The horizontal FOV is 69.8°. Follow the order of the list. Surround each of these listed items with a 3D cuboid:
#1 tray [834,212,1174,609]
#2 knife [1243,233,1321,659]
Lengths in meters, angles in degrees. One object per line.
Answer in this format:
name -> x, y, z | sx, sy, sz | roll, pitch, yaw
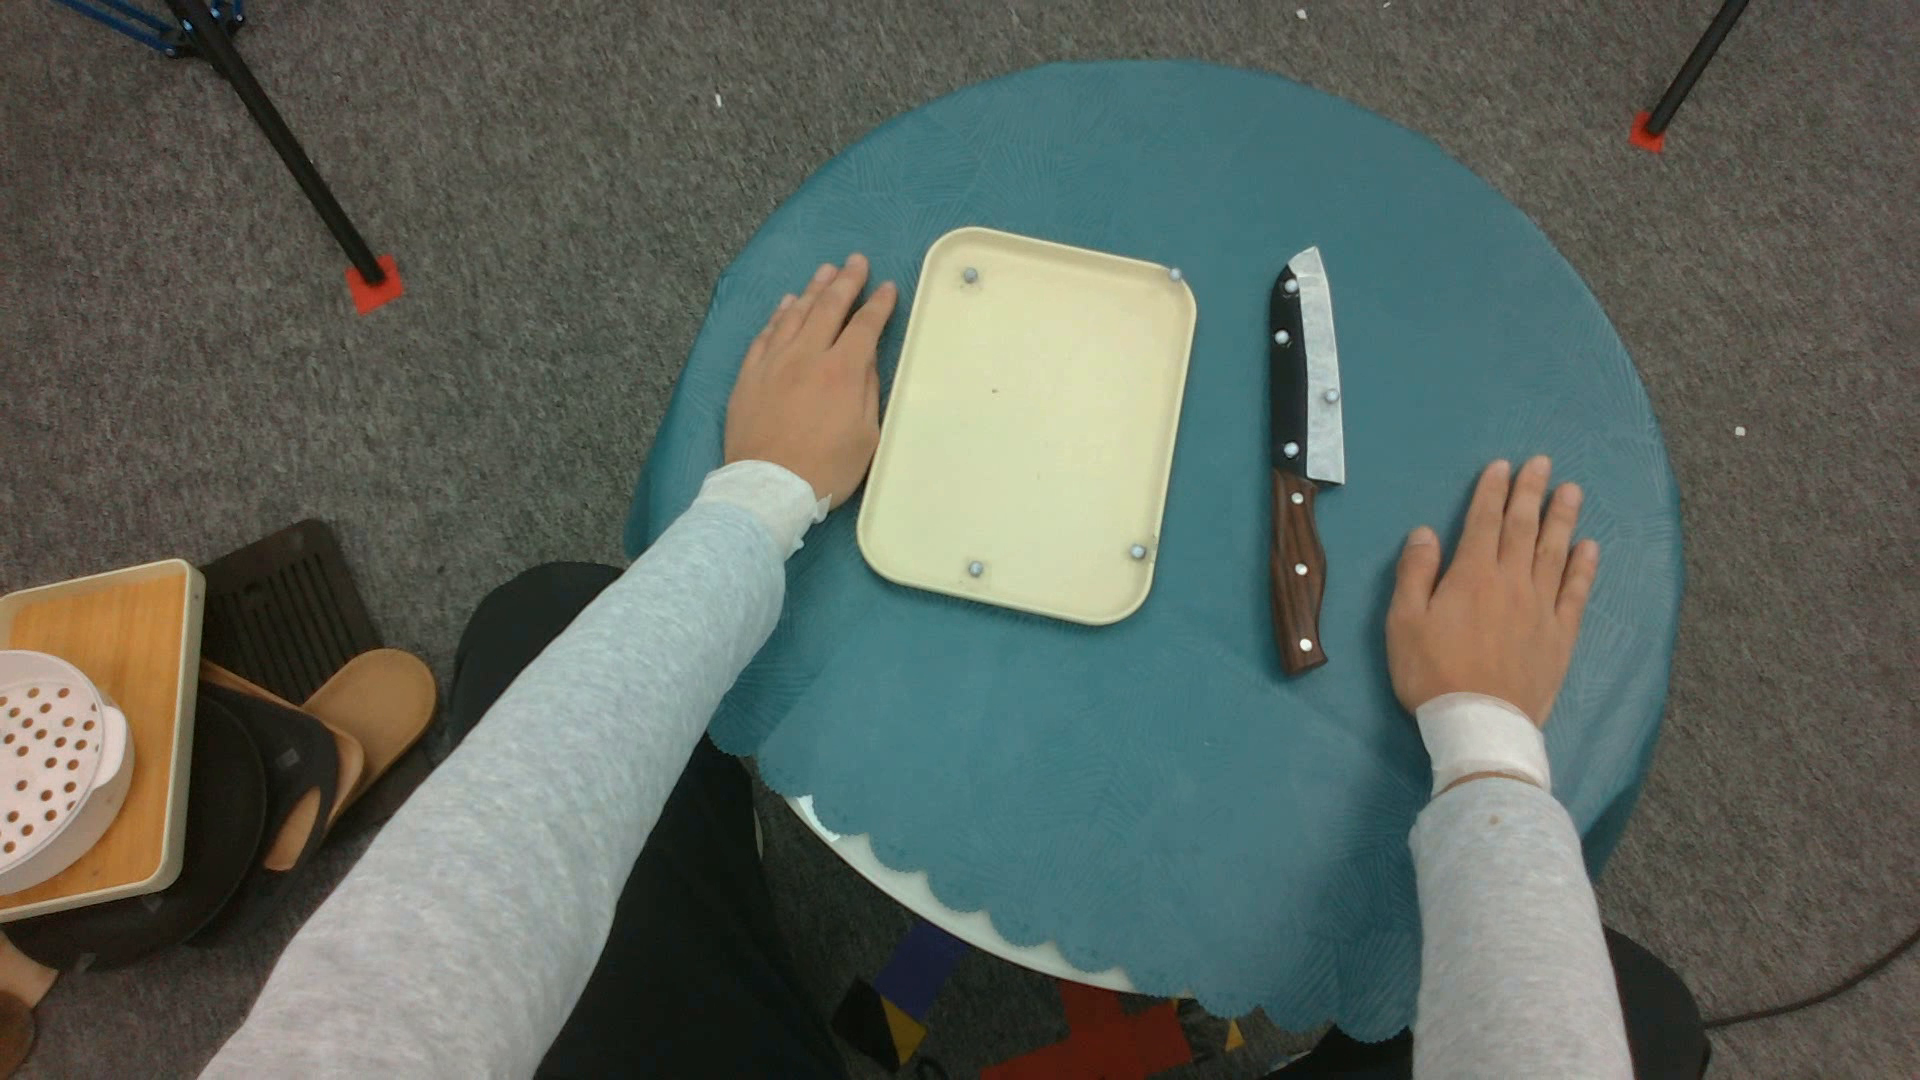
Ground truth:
tray -> 0.030, -0.080, 0.810 | 0.171, 0.017, 0.240 | 12, 68, 1
knife -> 0.191, -0.065, 0.818 | 0.050, 0.020, 0.290 | 9, 65, -7
